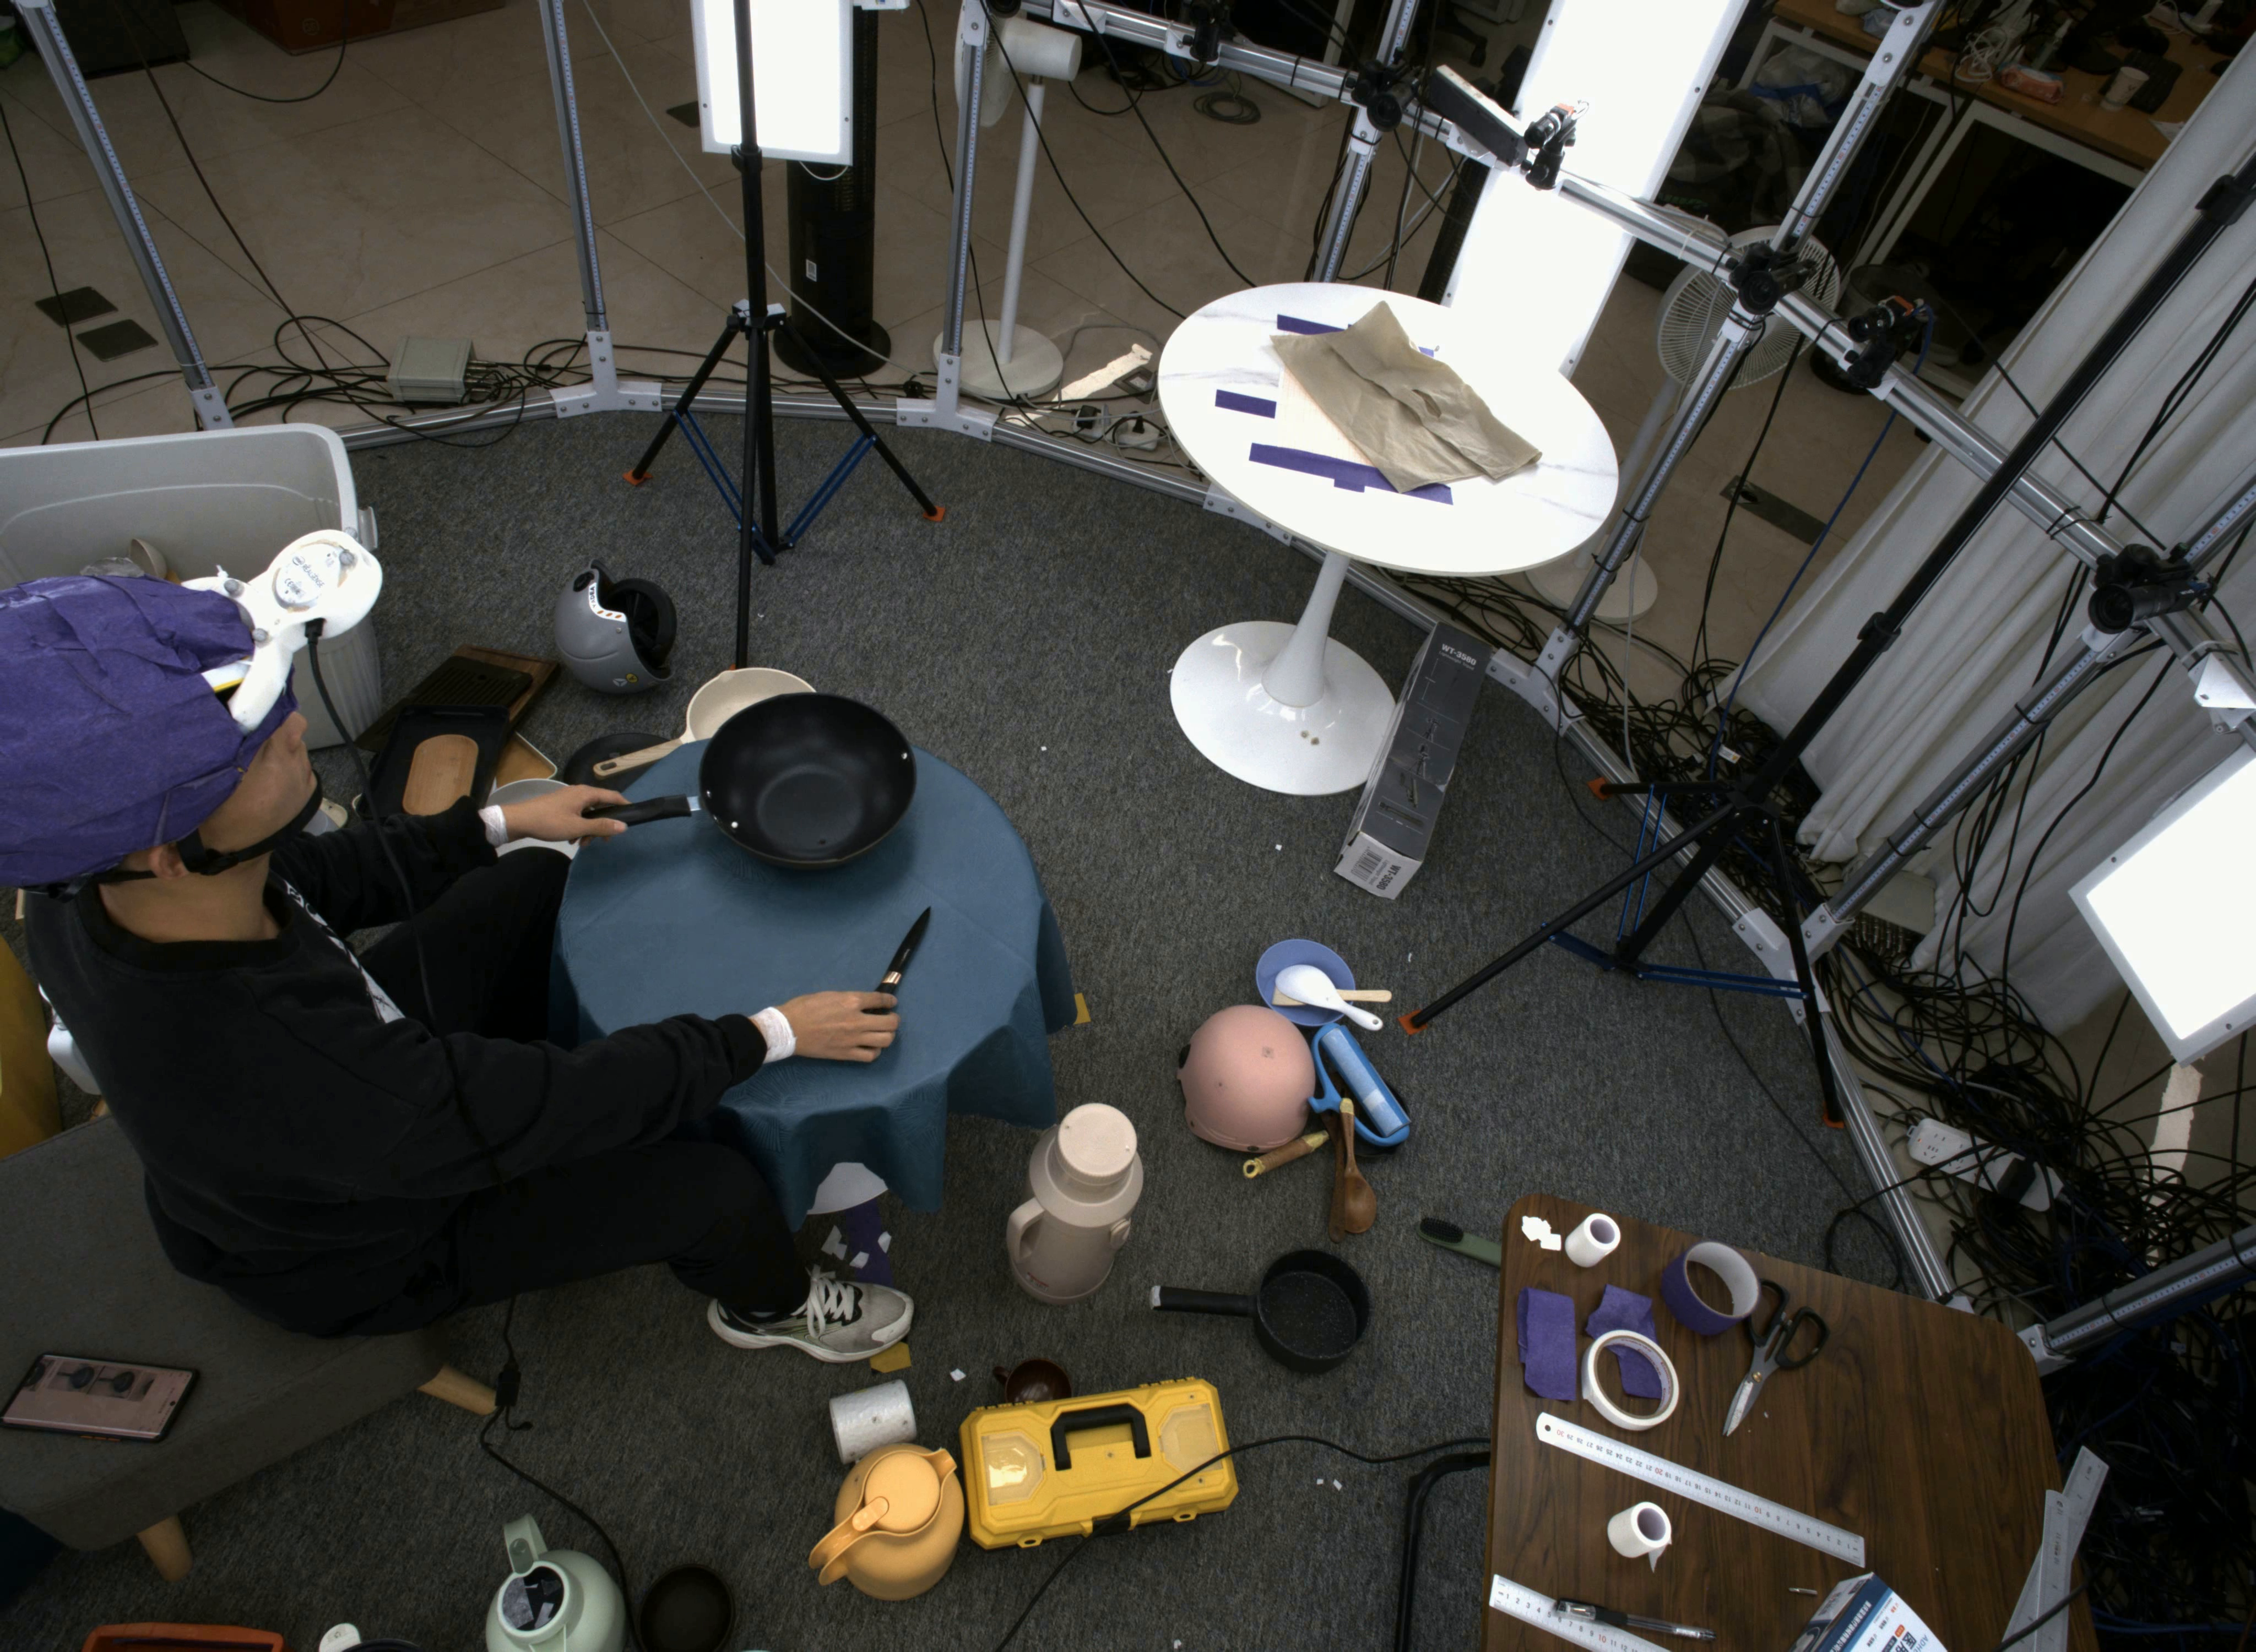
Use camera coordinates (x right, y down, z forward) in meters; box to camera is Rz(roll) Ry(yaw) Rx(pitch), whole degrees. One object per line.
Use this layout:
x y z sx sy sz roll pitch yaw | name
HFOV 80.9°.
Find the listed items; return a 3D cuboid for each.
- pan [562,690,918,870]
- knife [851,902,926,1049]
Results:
-0.498 -0.026 1.671 0.465 0.089 0.281 -15 59 -20 | pan
-0.292 0.179 1.615 0.025 0.018 0.223 5 49 21 | knife
